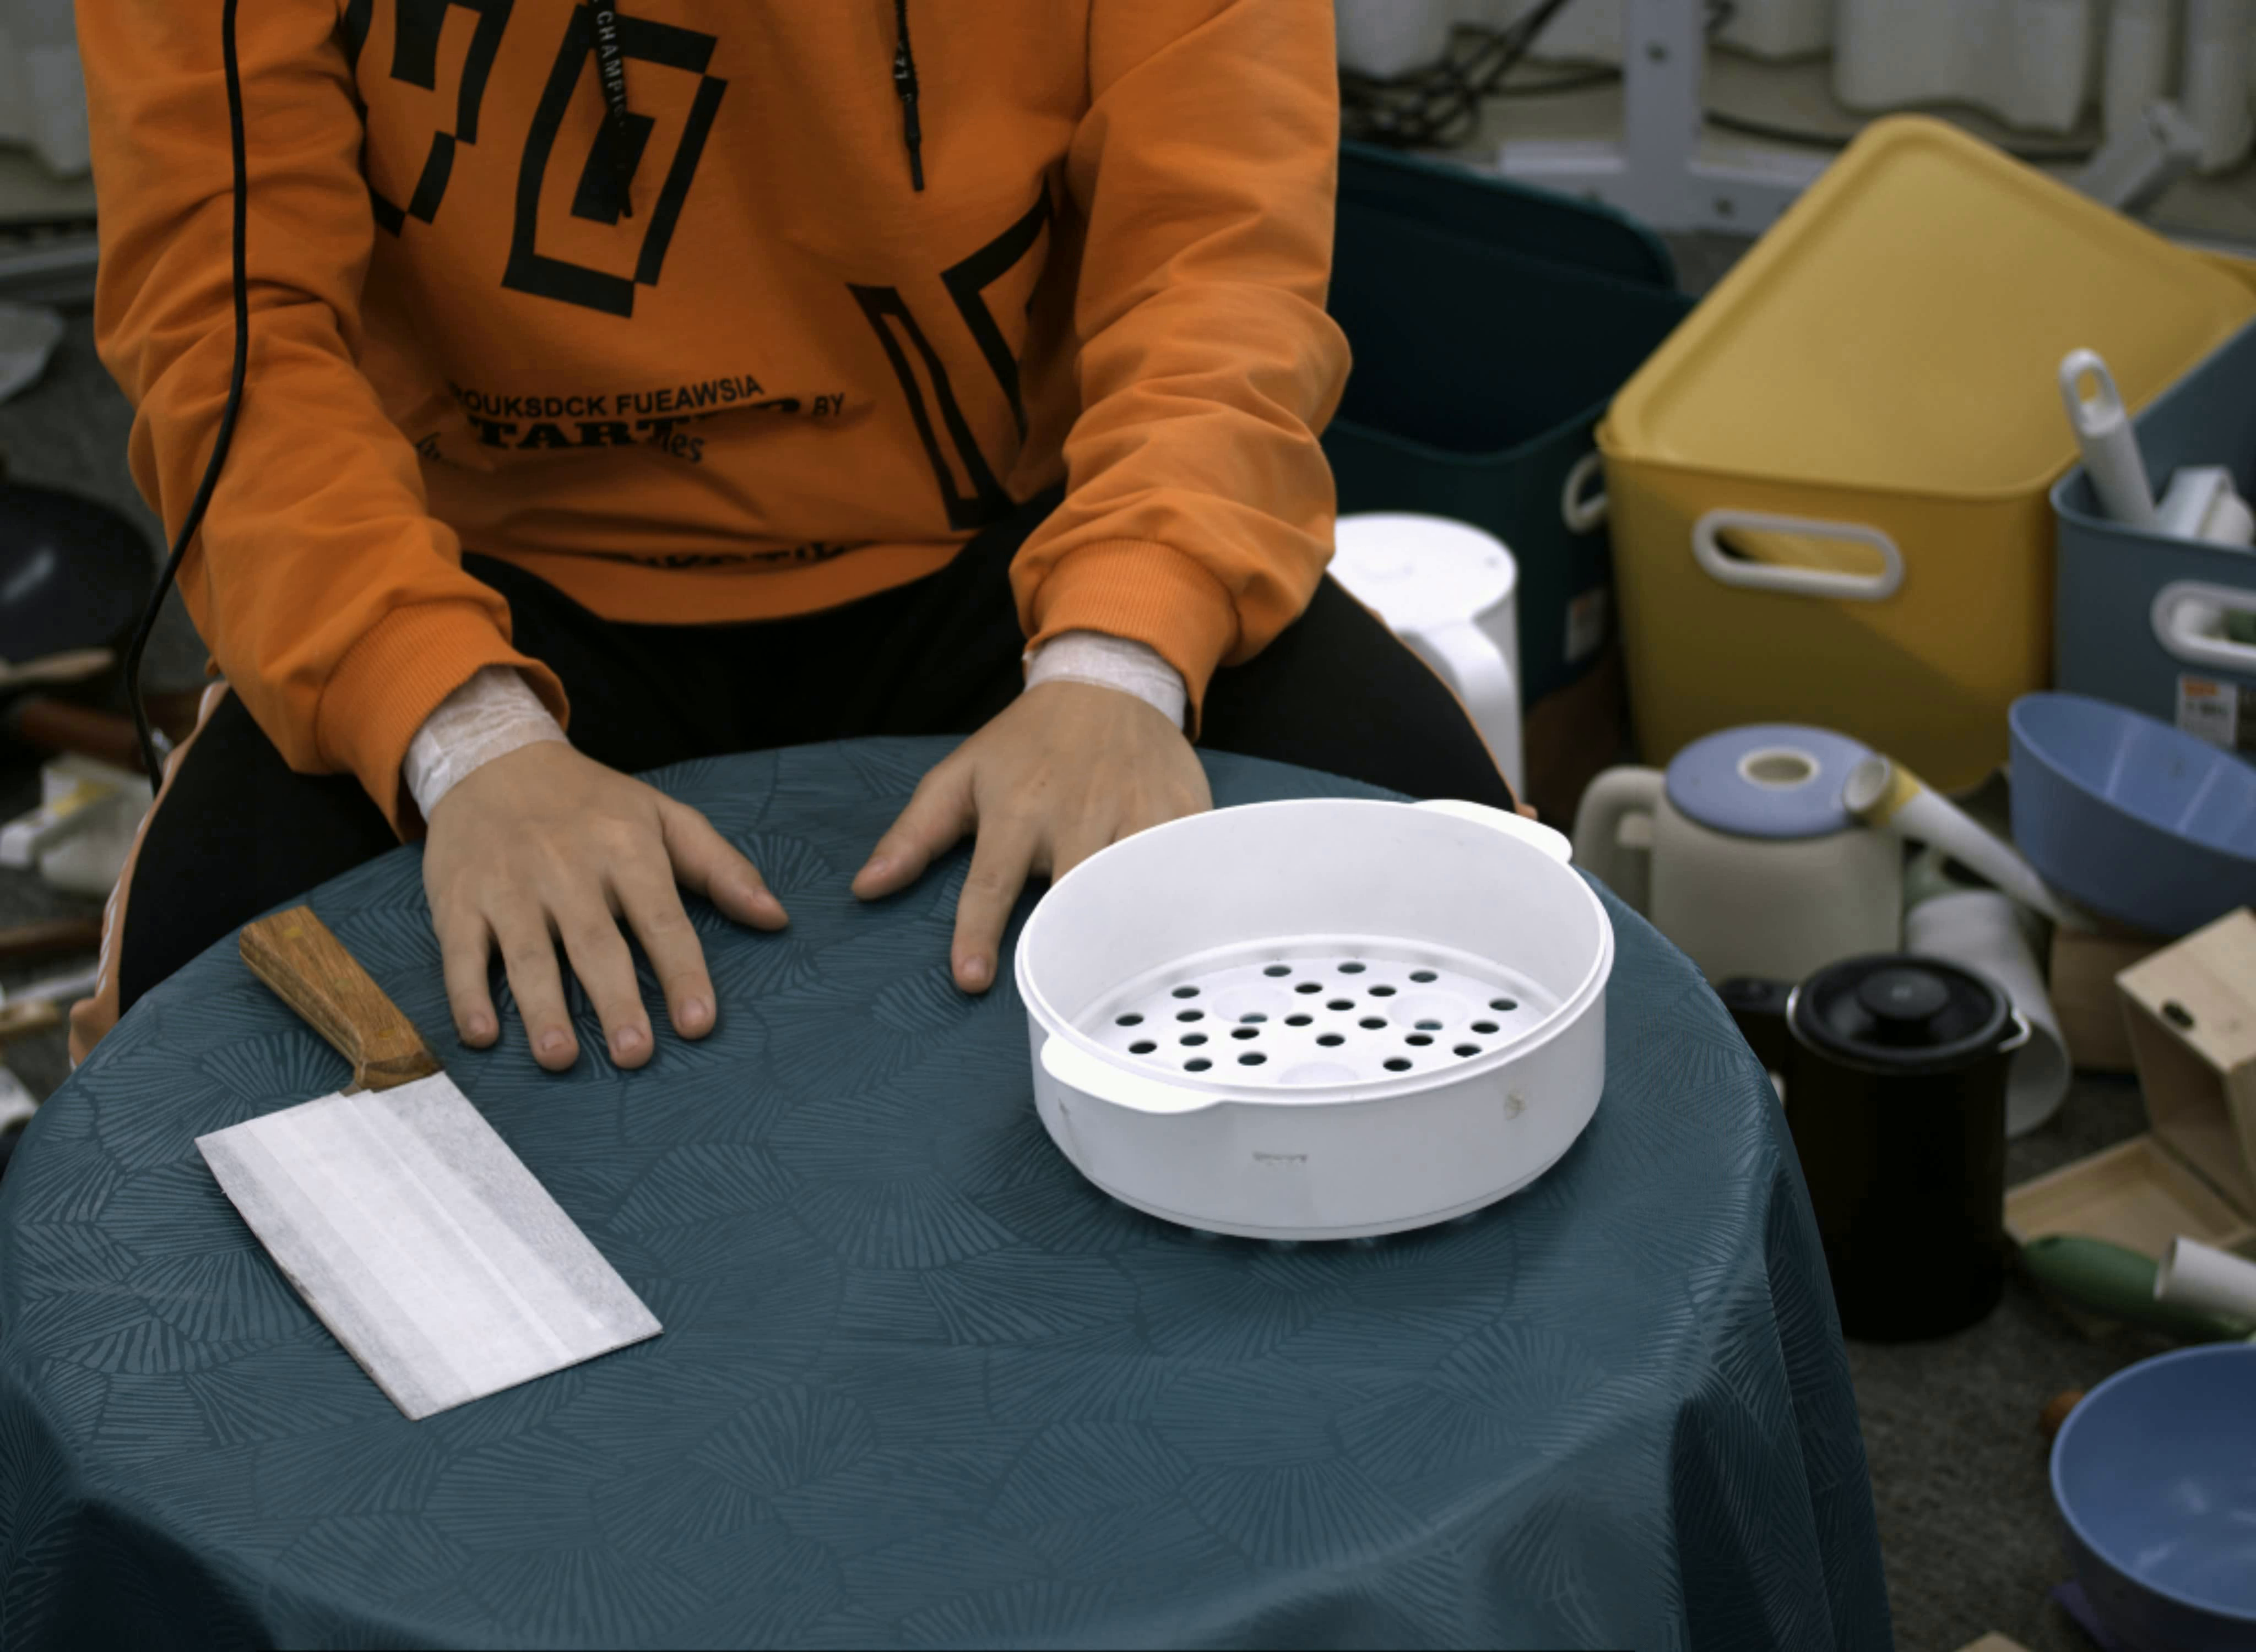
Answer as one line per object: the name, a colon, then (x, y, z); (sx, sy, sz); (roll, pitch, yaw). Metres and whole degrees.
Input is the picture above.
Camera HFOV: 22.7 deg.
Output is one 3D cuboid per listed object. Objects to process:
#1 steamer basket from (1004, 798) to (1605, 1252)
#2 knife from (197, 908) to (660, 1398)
steamer basket: (0.060, 0.067, 1.886); (0.201, 0.068, 0.234); (18, 36, 35)
knife: (-0.259, 0.110, 1.894); (0.093, 0.021, 0.307); (-18, 33, -23)
